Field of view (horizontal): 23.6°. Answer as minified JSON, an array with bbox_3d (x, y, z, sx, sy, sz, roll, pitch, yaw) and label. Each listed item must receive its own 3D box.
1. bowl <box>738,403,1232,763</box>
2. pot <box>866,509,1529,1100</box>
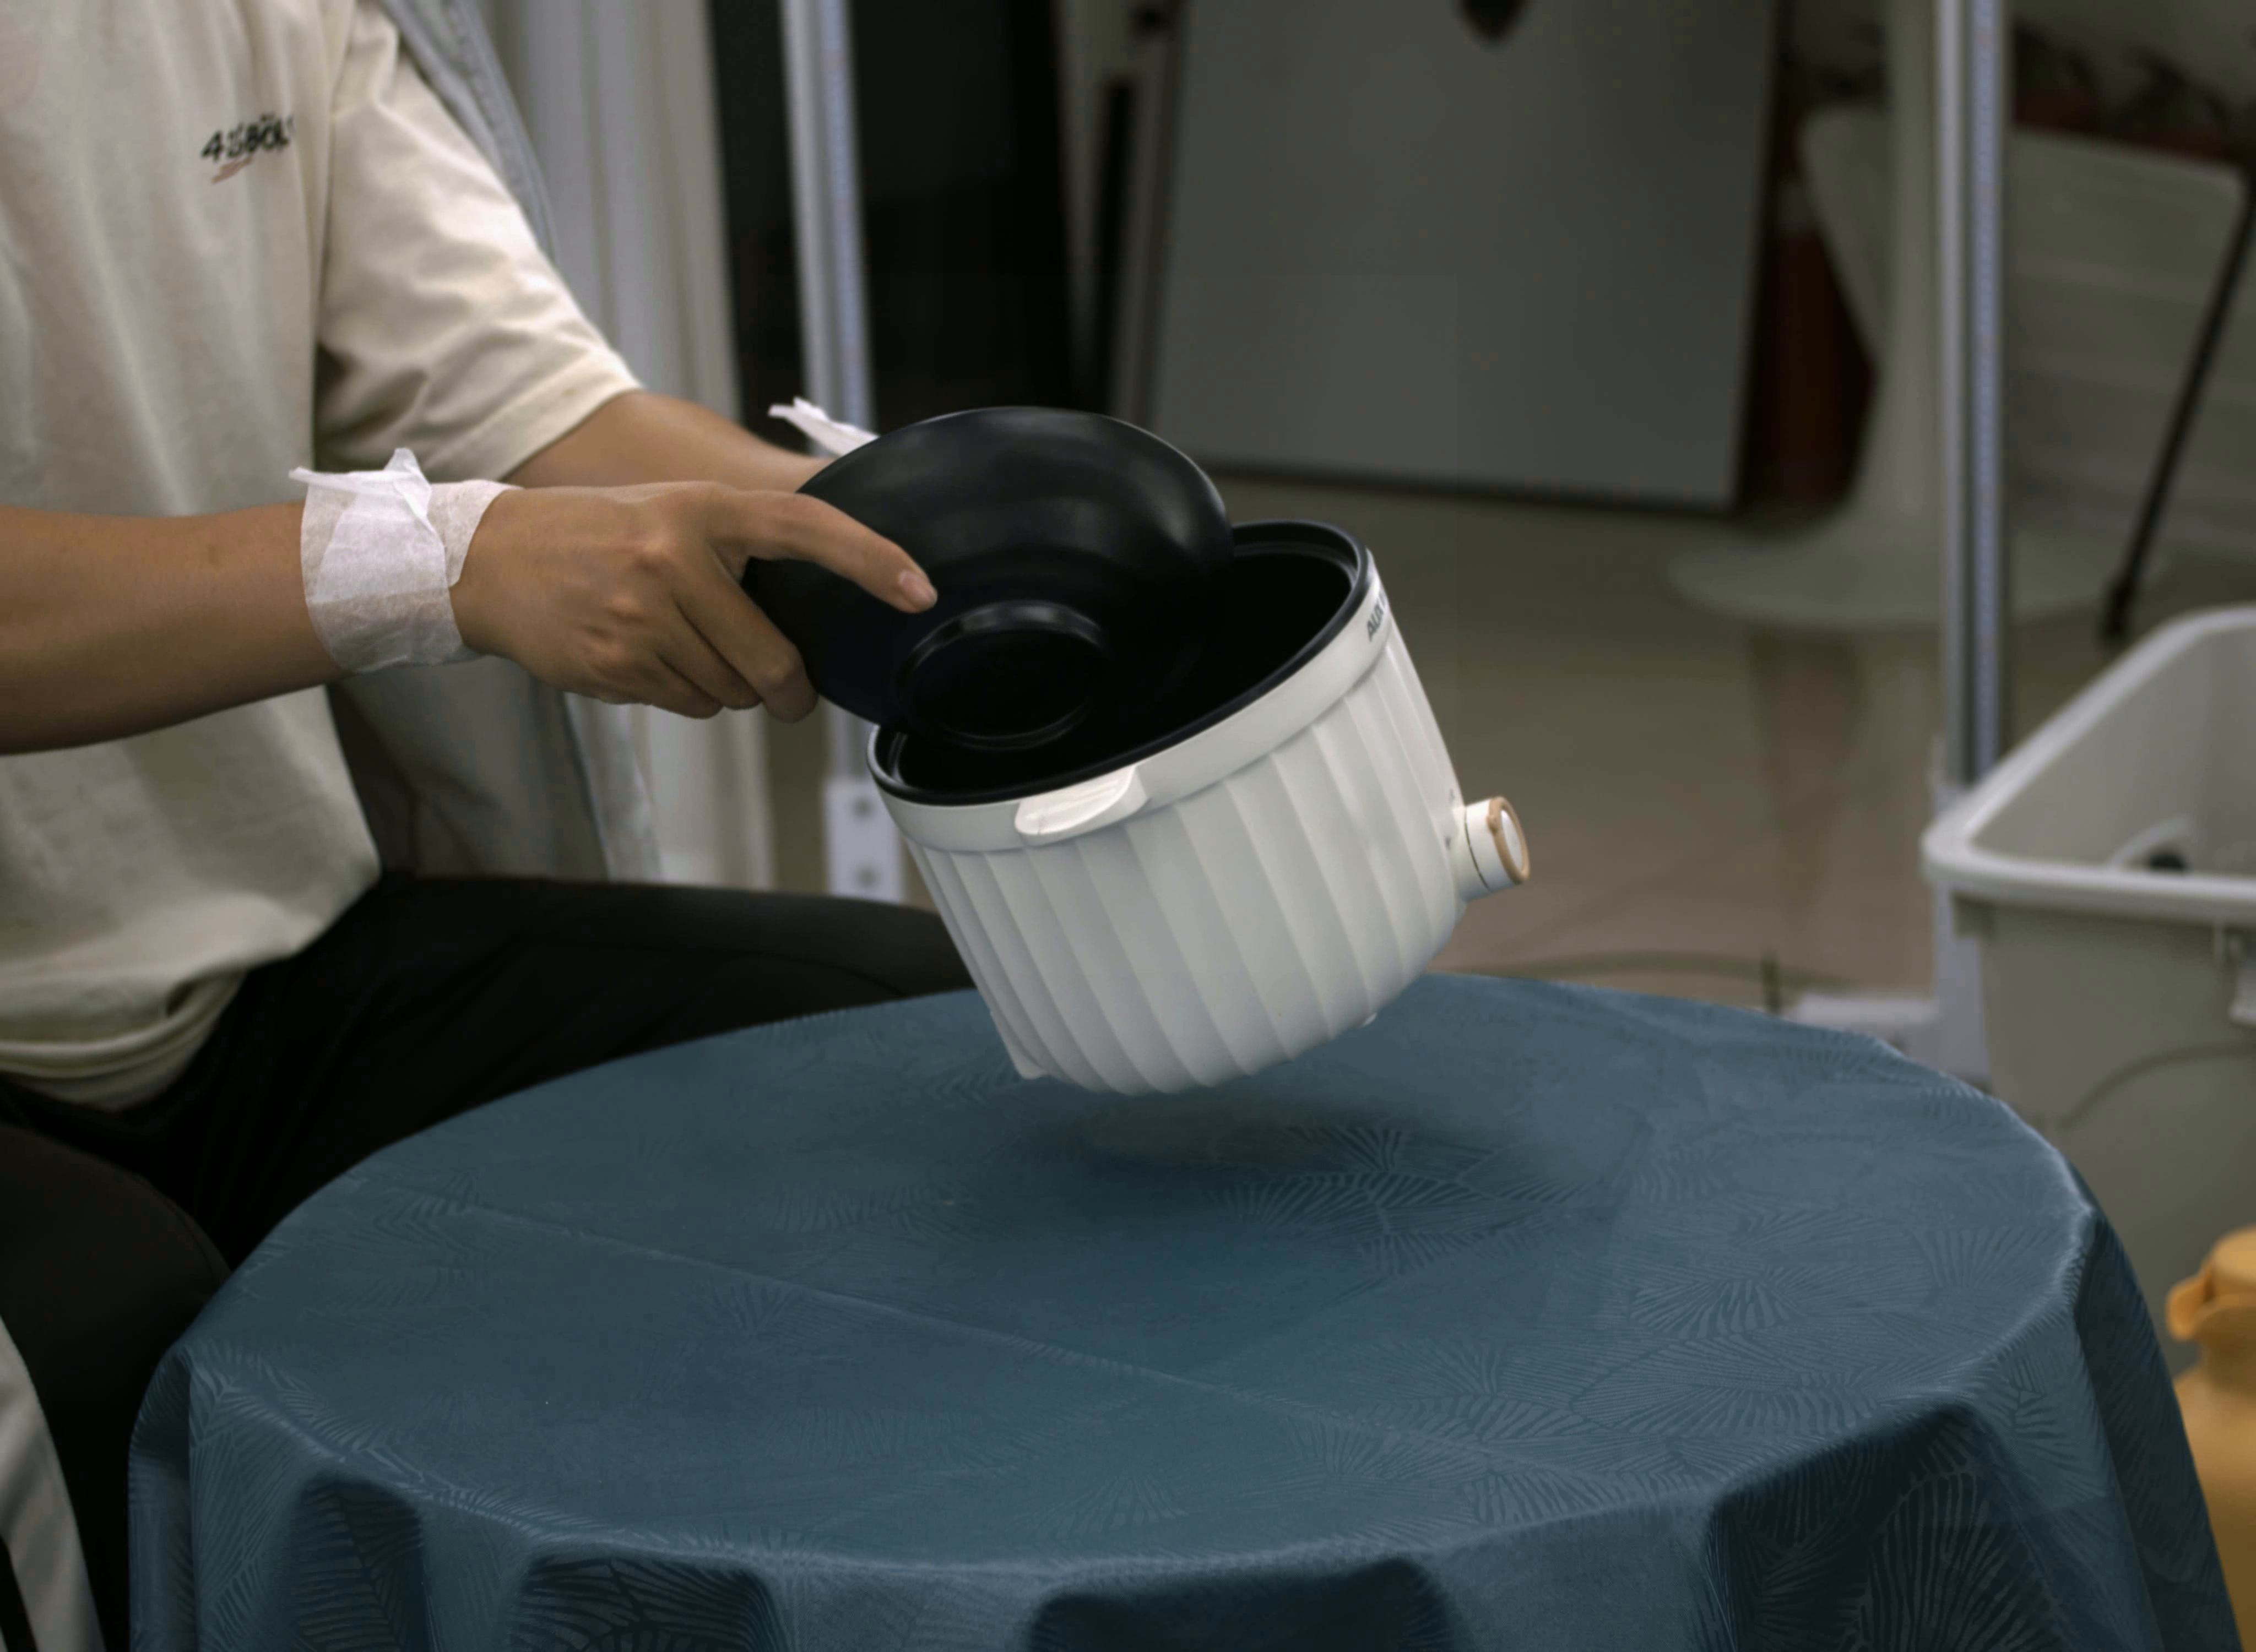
[{"bbox_3d":[-0.041,-0.067,1.743,0.166,0.139,0.067,8,47,-24],"label":"bowl"},{"bbox_3d":[0.026,-0.003,1.798,0.190,0.142,0.240,-22,22,19],"label":"pot"}]
